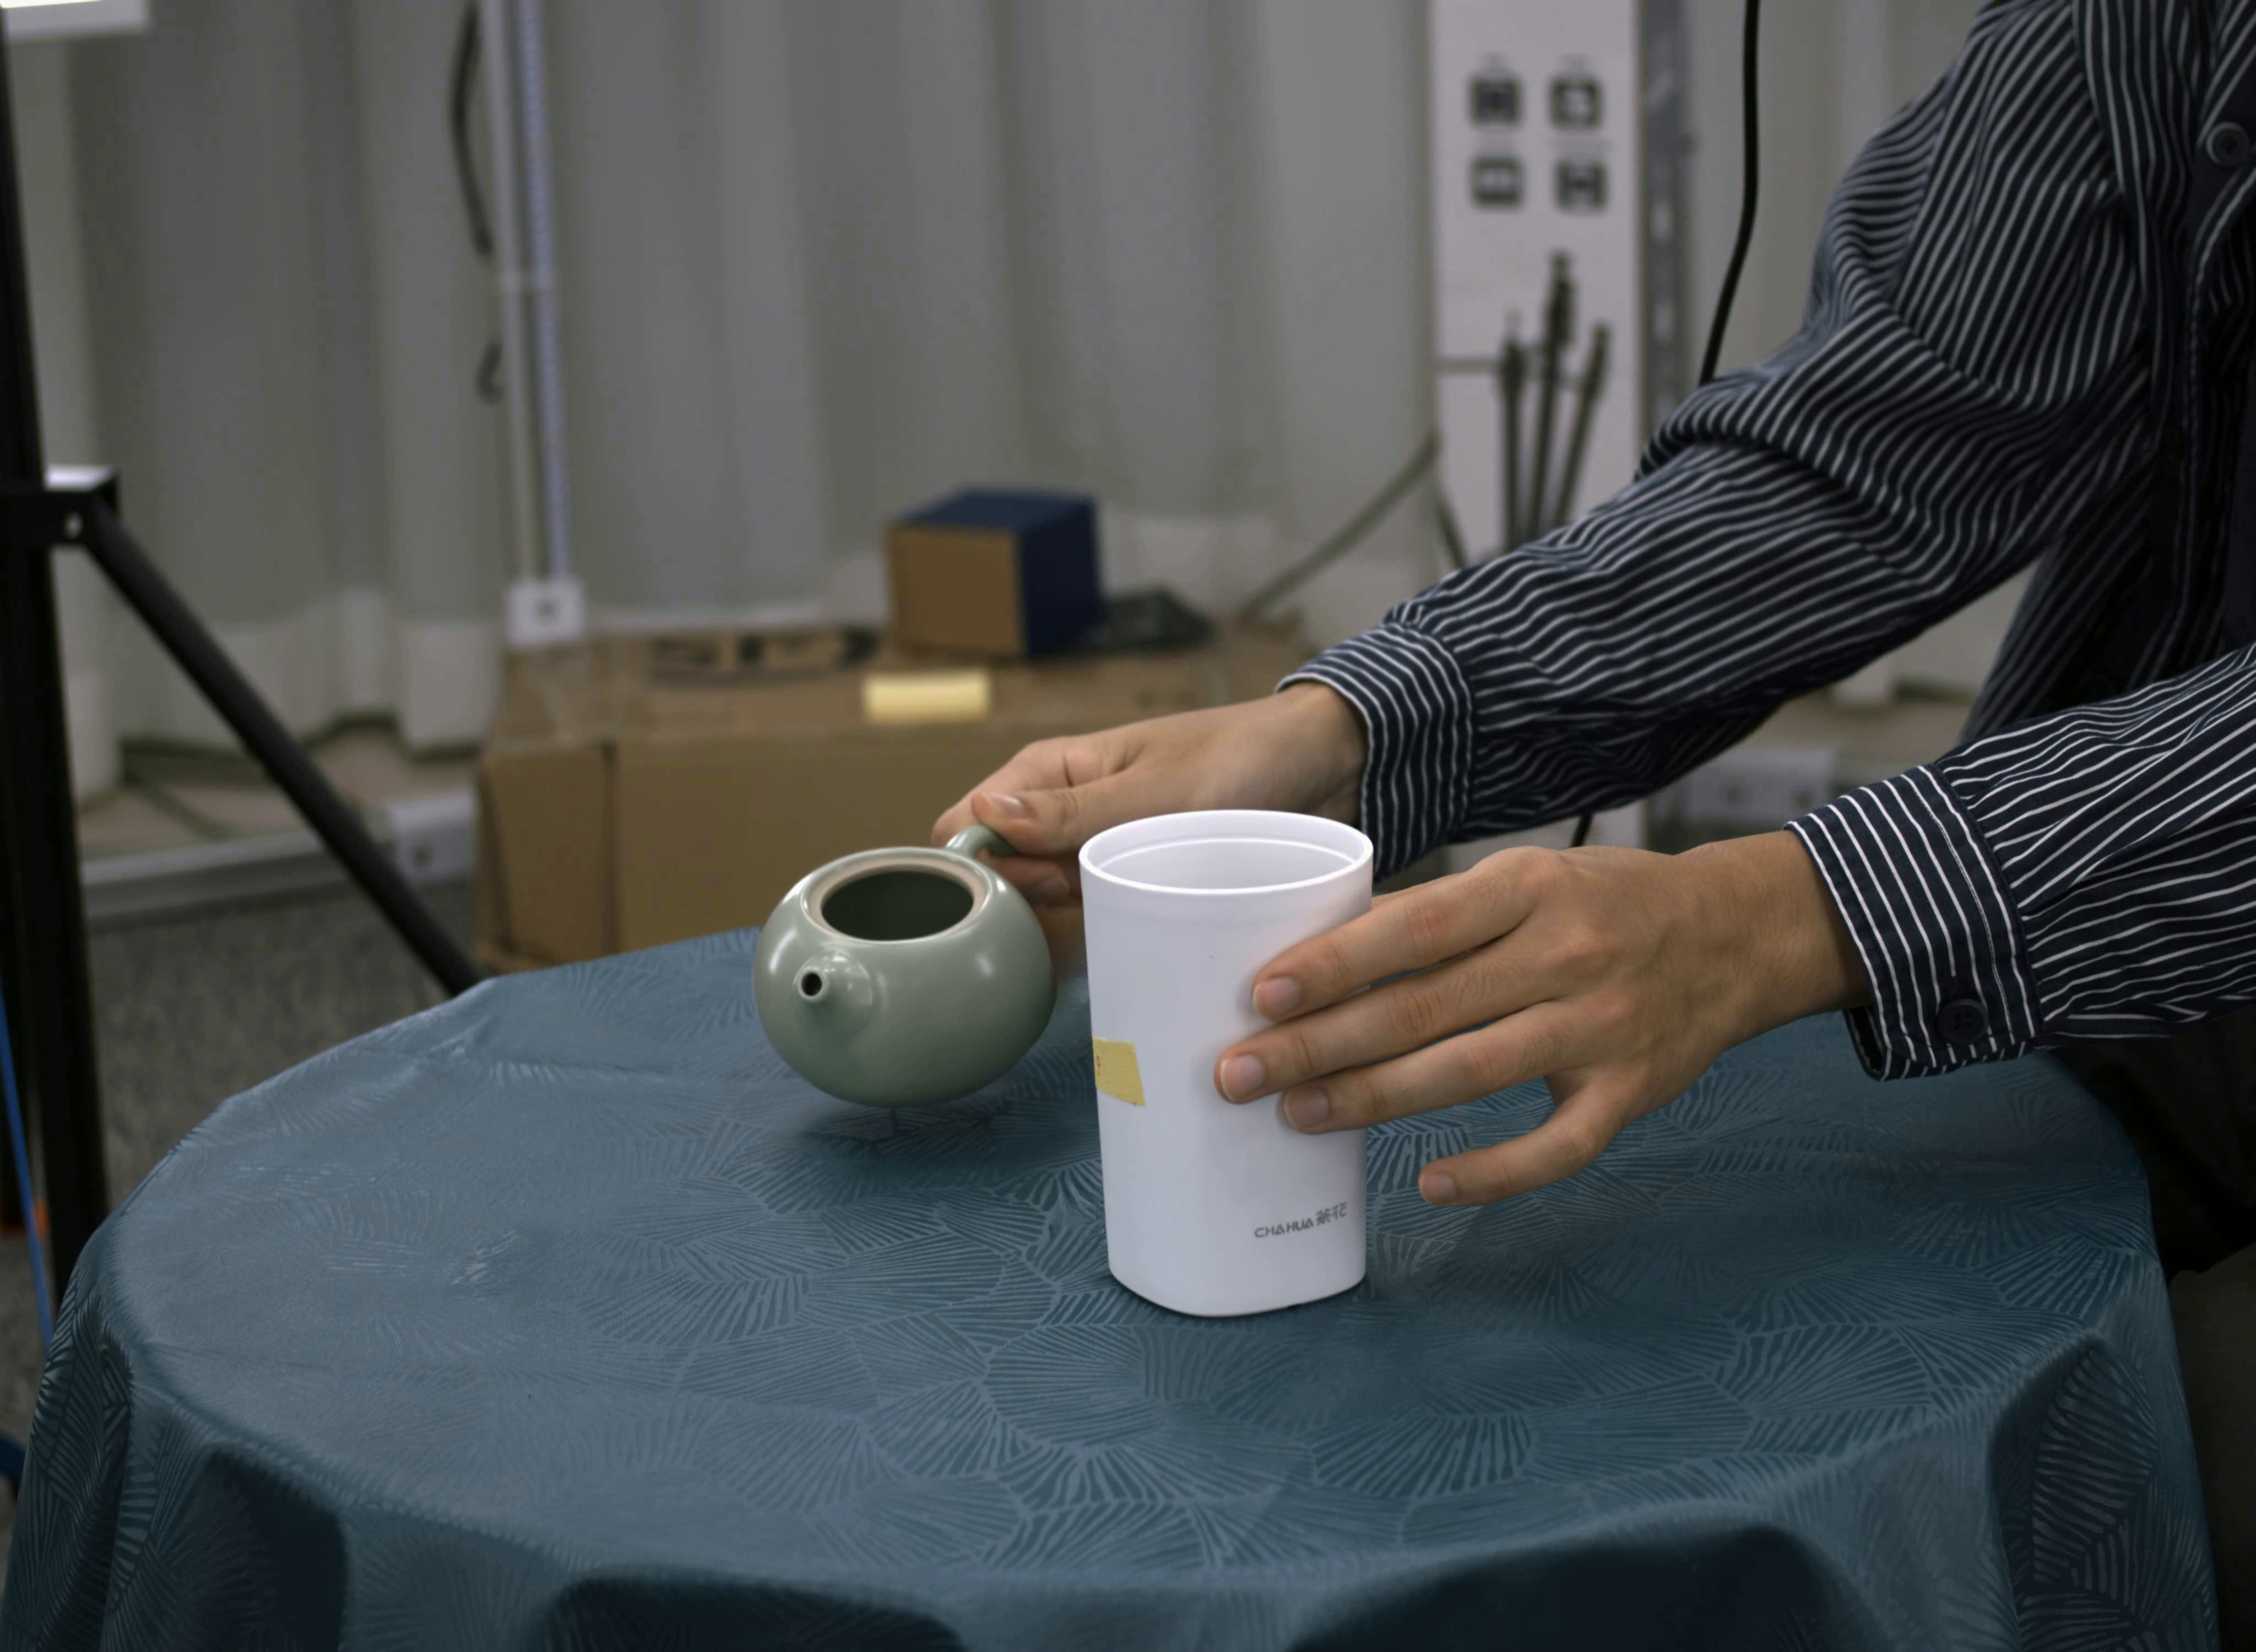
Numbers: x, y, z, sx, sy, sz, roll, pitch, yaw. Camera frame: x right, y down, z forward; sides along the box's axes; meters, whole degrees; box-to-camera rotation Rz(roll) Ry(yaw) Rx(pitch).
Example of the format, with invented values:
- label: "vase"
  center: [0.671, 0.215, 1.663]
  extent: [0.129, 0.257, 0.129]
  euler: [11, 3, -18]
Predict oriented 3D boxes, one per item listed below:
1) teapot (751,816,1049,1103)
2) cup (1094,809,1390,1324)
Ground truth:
- label: "teapot"
  center: [-0.064, 0.041, 1.635]
  extent: [0.093, 0.060, 0.126]
  euler: [12, 33, 32]
- label: "cup"
  center: [0.033, 0.067, 1.464]
  extent: [0.081, 0.125, 0.082]
  euler: [-2, 15, -1]
